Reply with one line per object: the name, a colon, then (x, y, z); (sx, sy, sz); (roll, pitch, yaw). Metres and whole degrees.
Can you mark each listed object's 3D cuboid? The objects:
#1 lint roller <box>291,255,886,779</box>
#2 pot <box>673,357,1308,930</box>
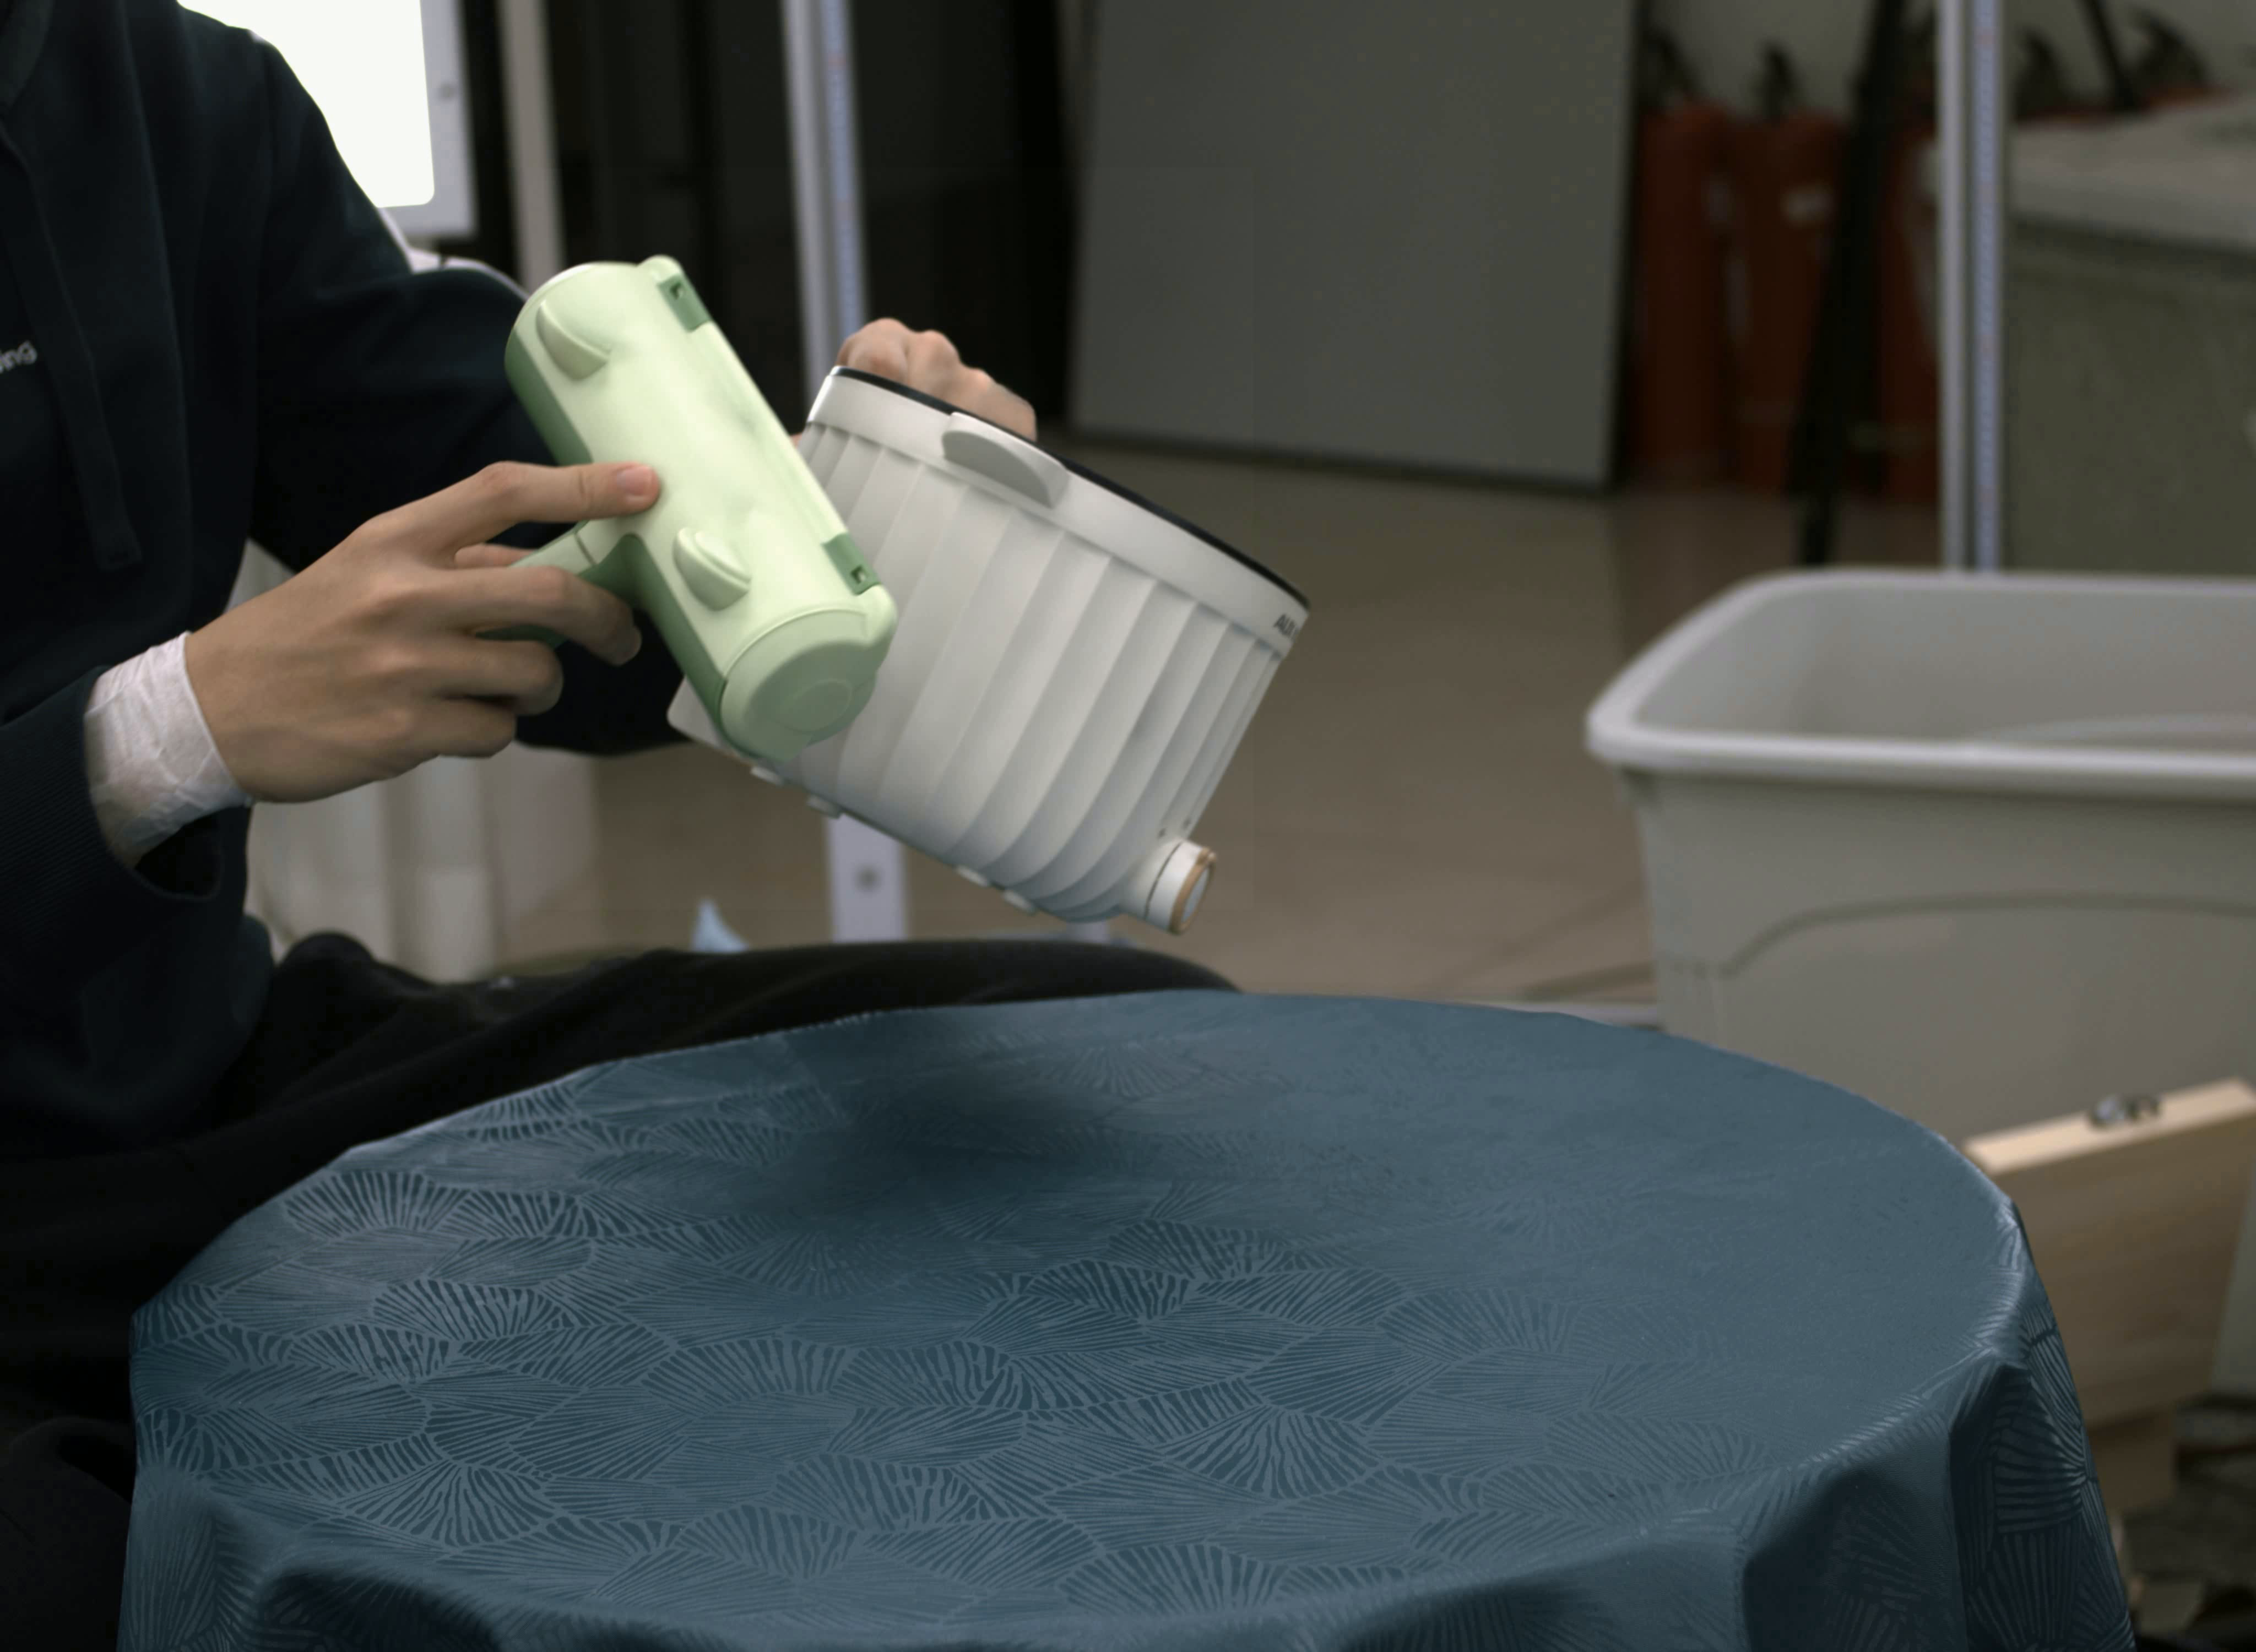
lint roller: (-0.190, -0.081, 1.701); (0.181, 0.082, 0.201); (-28, 50, -6)
pot: (-0.043, -0.054, 1.816); (0.190, 0.144, 0.239); (22, -2, 13)
